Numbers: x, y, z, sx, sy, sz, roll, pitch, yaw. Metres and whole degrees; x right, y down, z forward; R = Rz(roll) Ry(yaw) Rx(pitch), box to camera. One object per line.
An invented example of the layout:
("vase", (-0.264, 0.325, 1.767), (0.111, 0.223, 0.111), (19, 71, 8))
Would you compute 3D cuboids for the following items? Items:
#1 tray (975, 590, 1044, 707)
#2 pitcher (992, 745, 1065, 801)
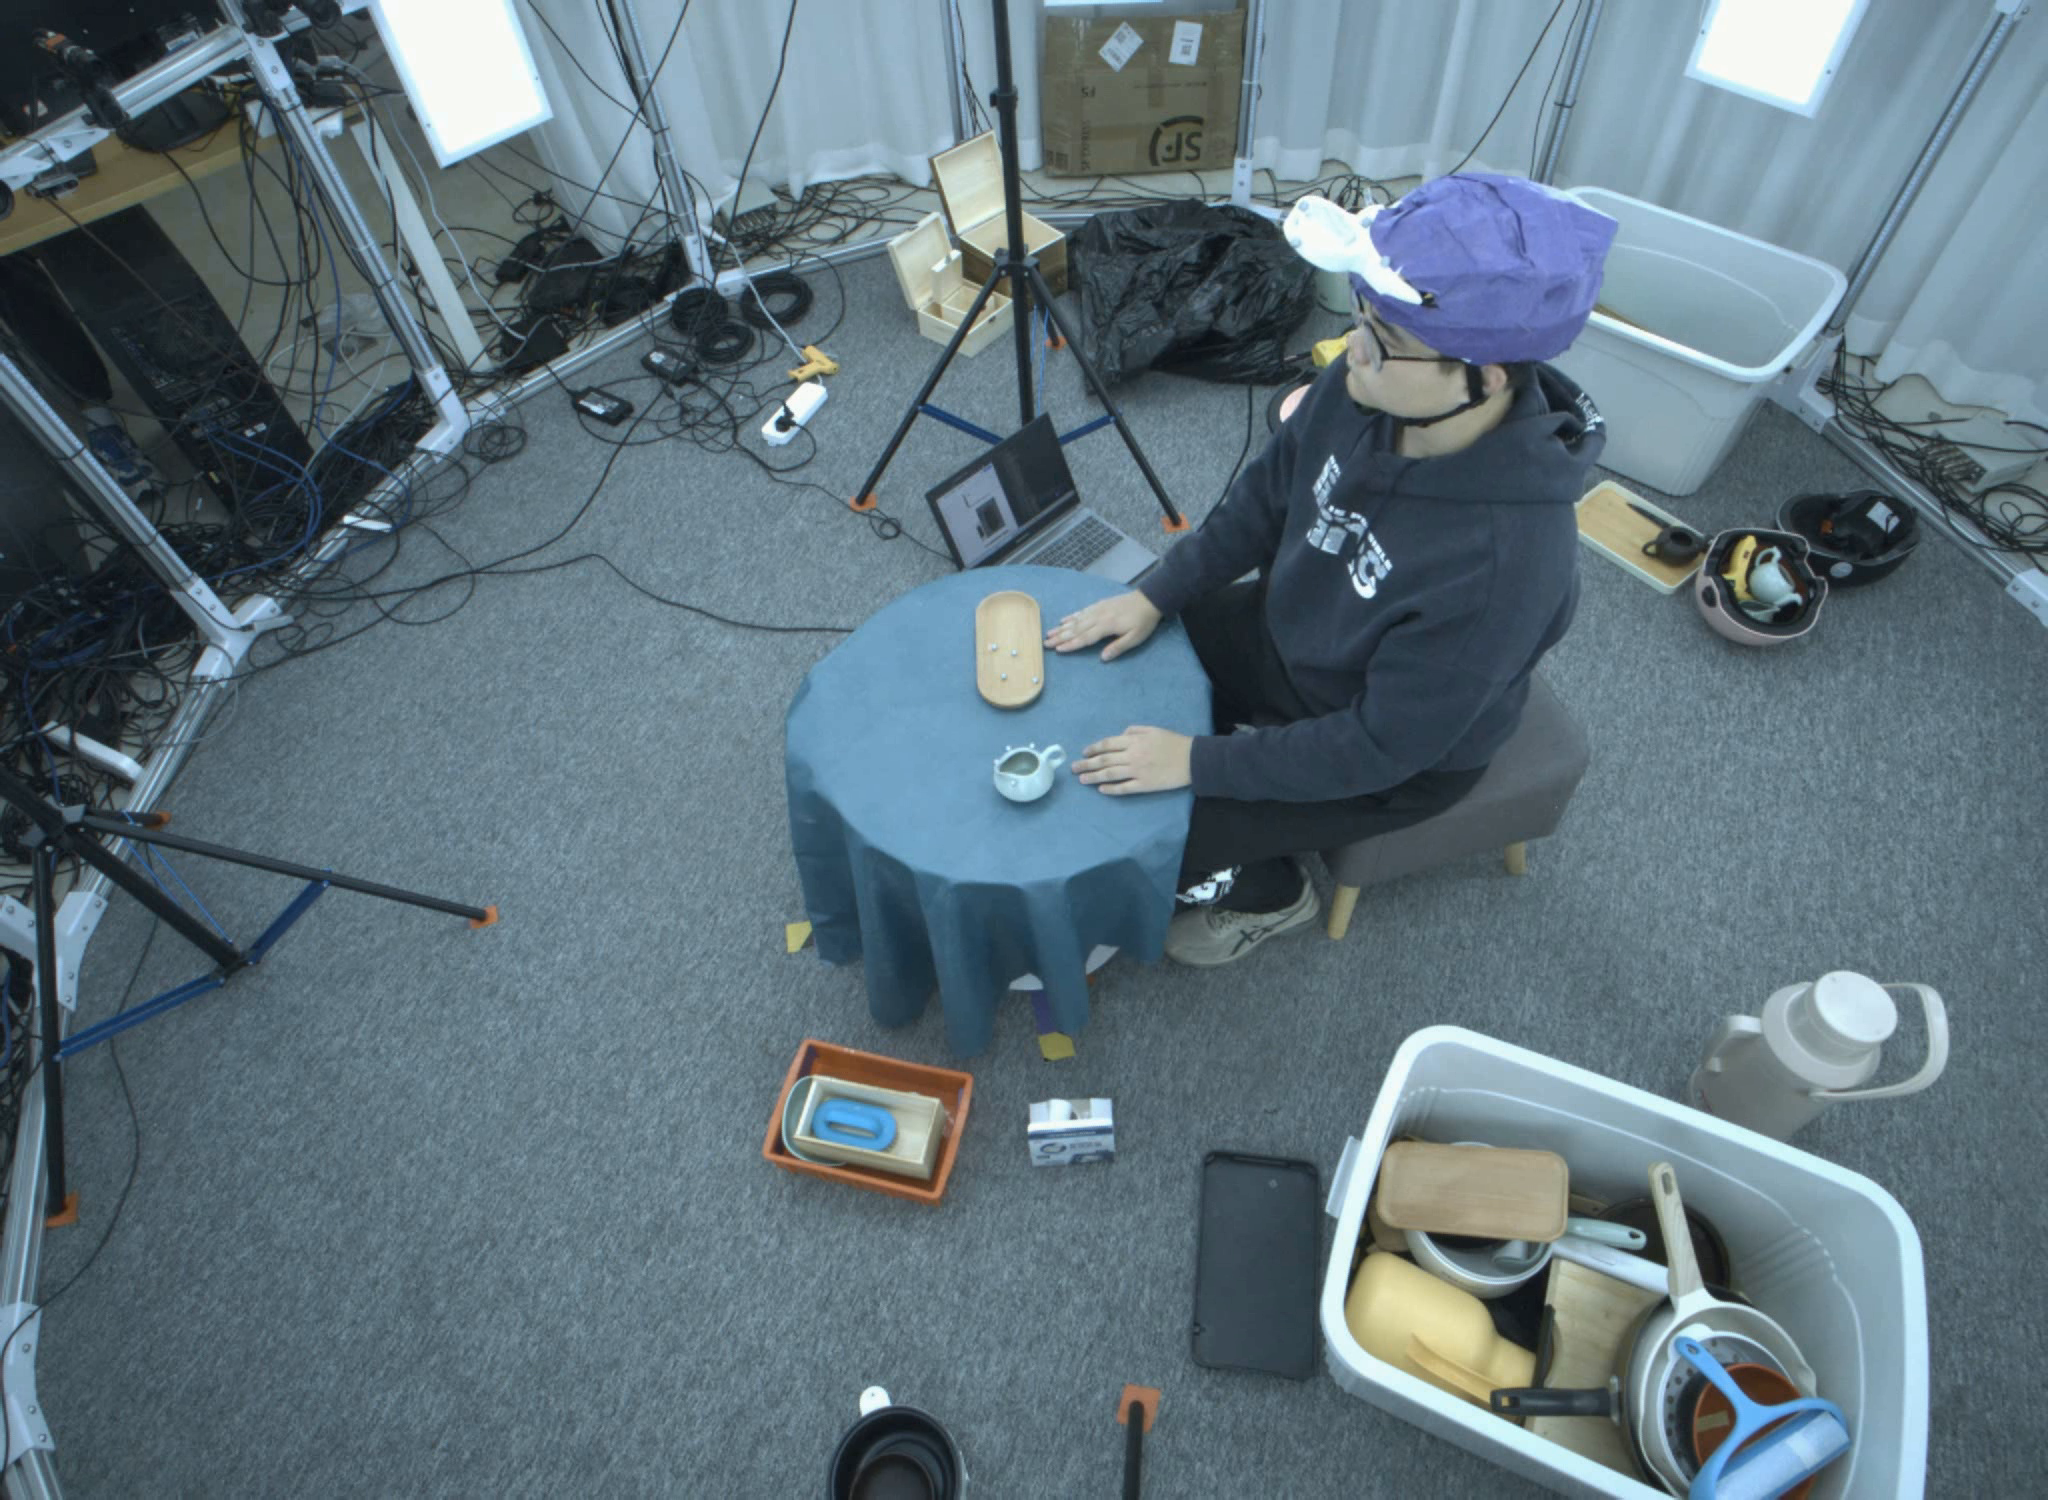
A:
("tray", (-0.024, -0.159, 1.891), (0.102, 0.020, 0.228), (-2, 53, -2))
("pitcher", (0.007, 0.027, 1.735), (0.109, 0.061, 0.084), (-20, 57, -14))
